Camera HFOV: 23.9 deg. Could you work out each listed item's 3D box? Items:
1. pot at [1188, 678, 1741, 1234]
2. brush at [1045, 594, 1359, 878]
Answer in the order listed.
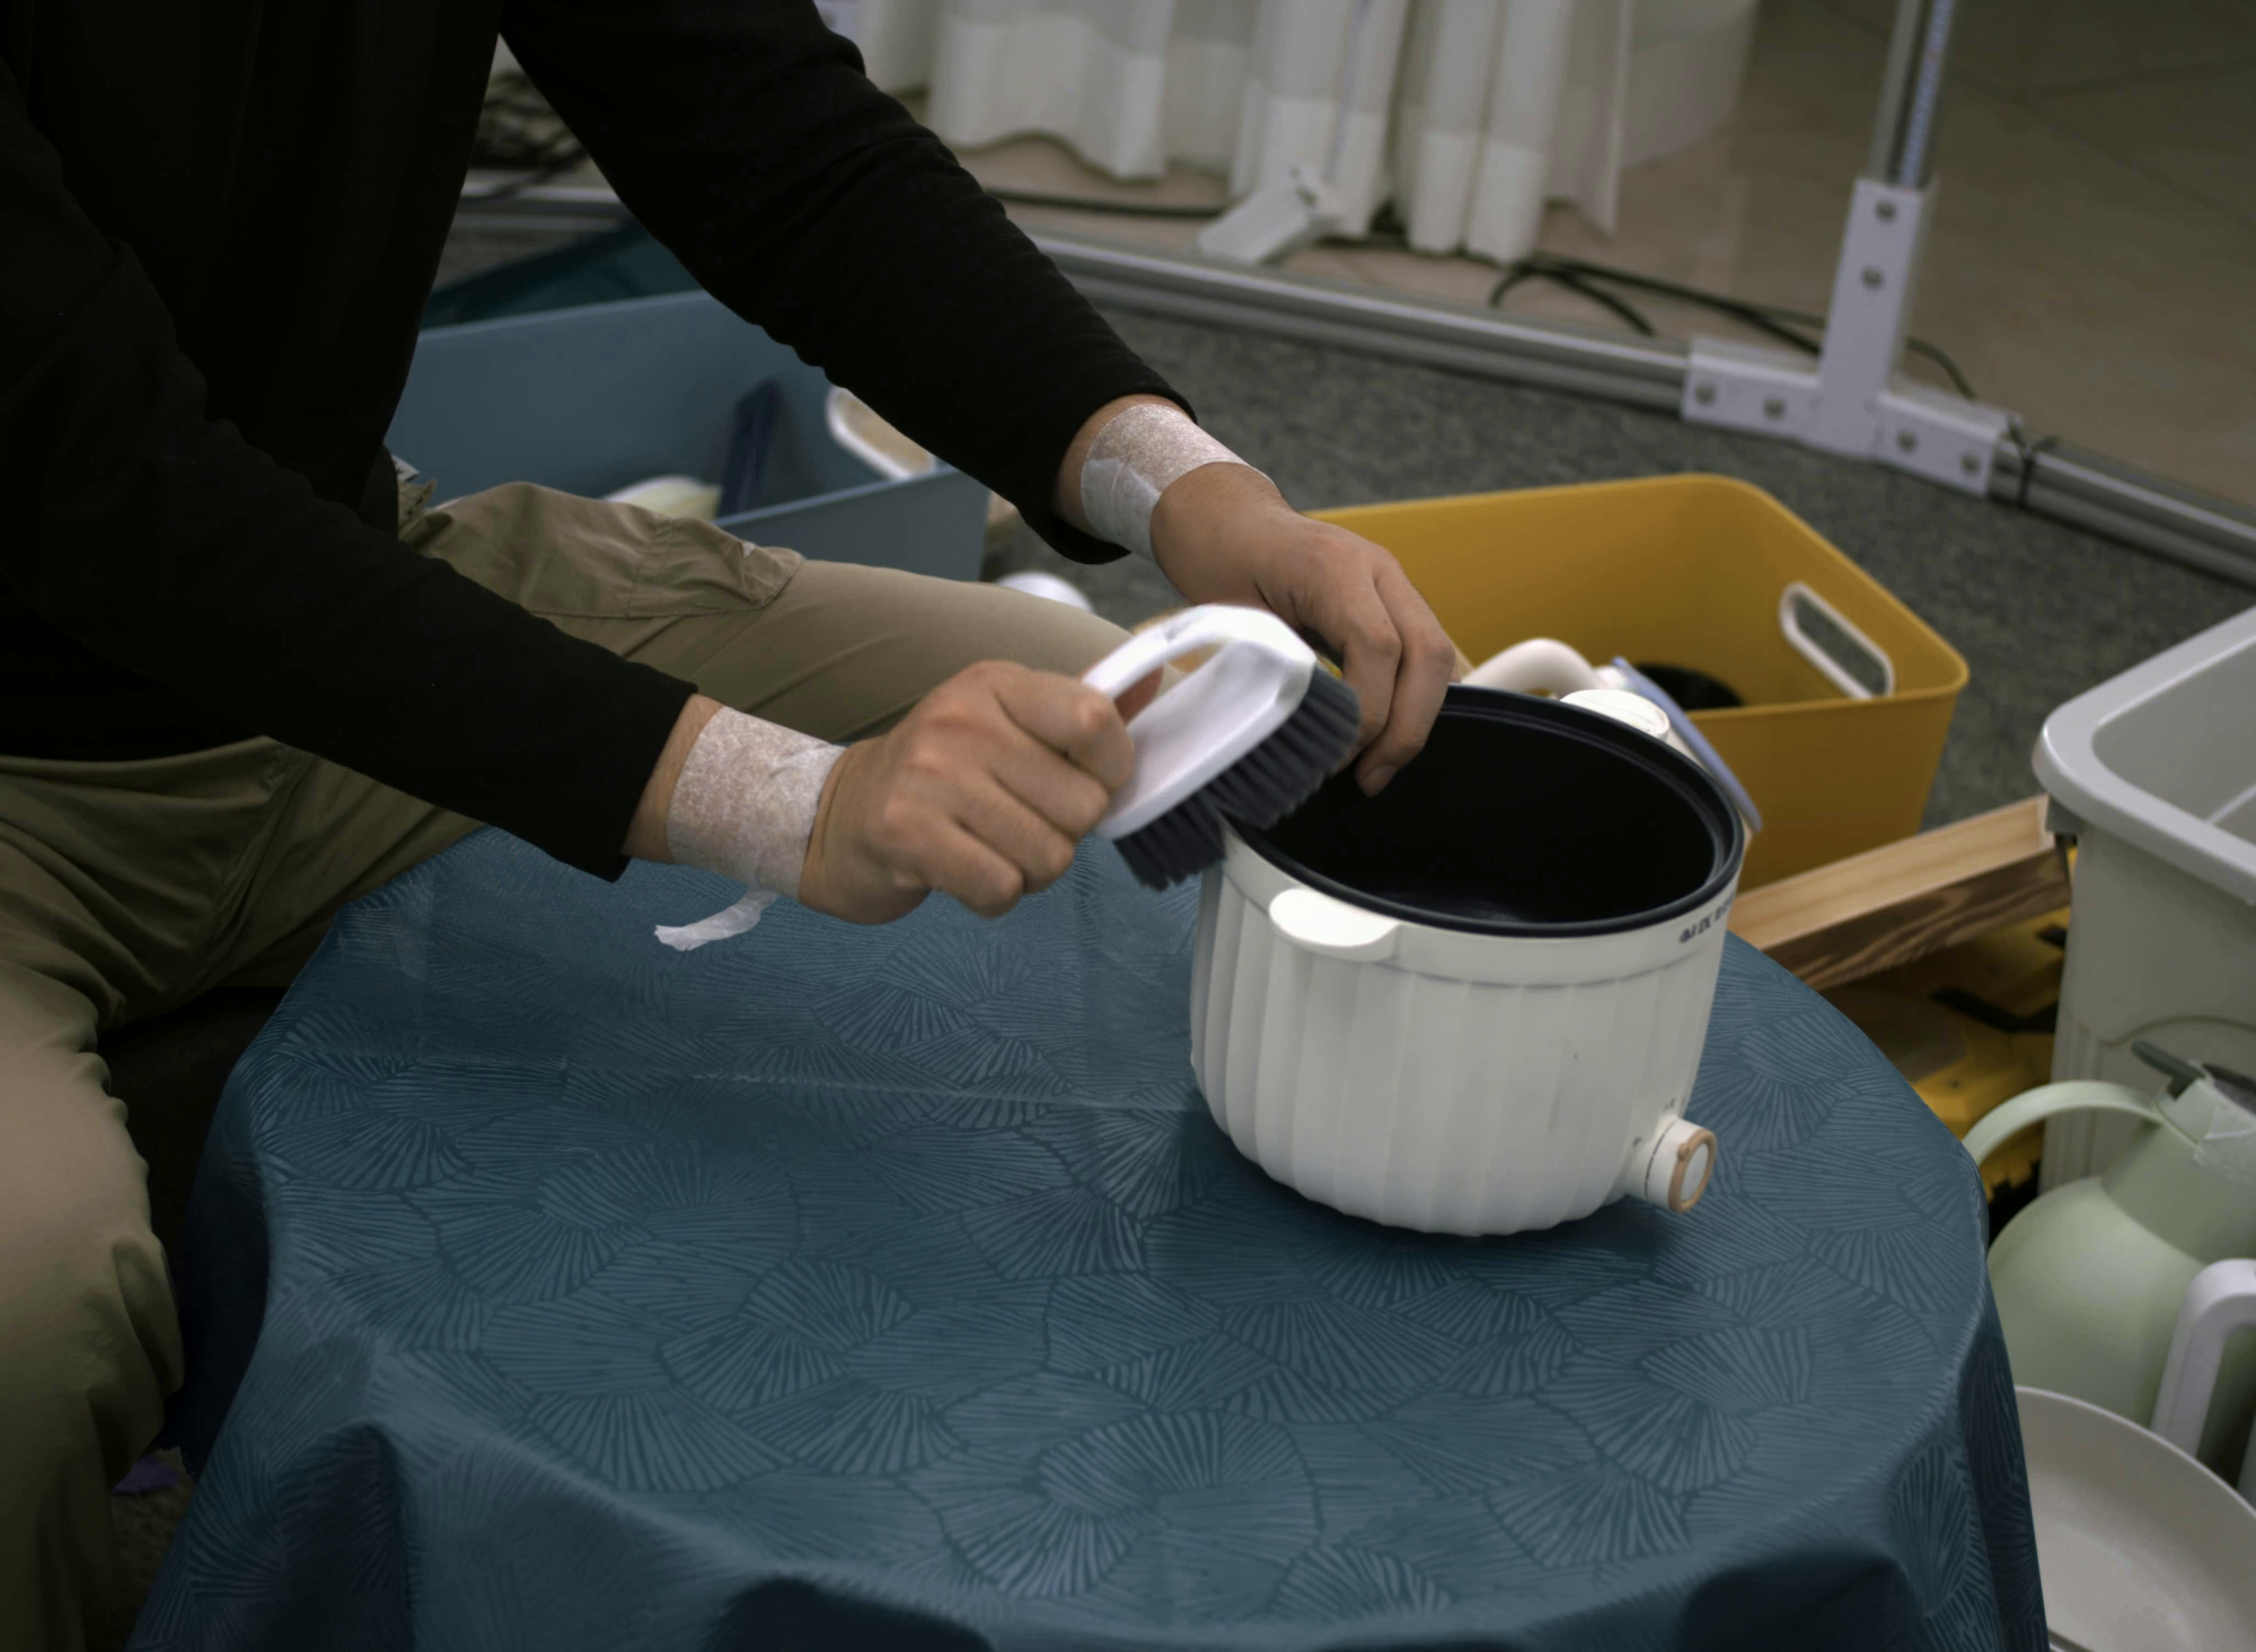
[{"bbox_3d":[0.116,0.050,1.820,0.191,0.142,0.240,18,30,27],"label":"pot"},{"bbox_3d":[0.017,-0.036,1.771,0.072,0.099,0.050,43,19,-30],"label":"brush"}]
